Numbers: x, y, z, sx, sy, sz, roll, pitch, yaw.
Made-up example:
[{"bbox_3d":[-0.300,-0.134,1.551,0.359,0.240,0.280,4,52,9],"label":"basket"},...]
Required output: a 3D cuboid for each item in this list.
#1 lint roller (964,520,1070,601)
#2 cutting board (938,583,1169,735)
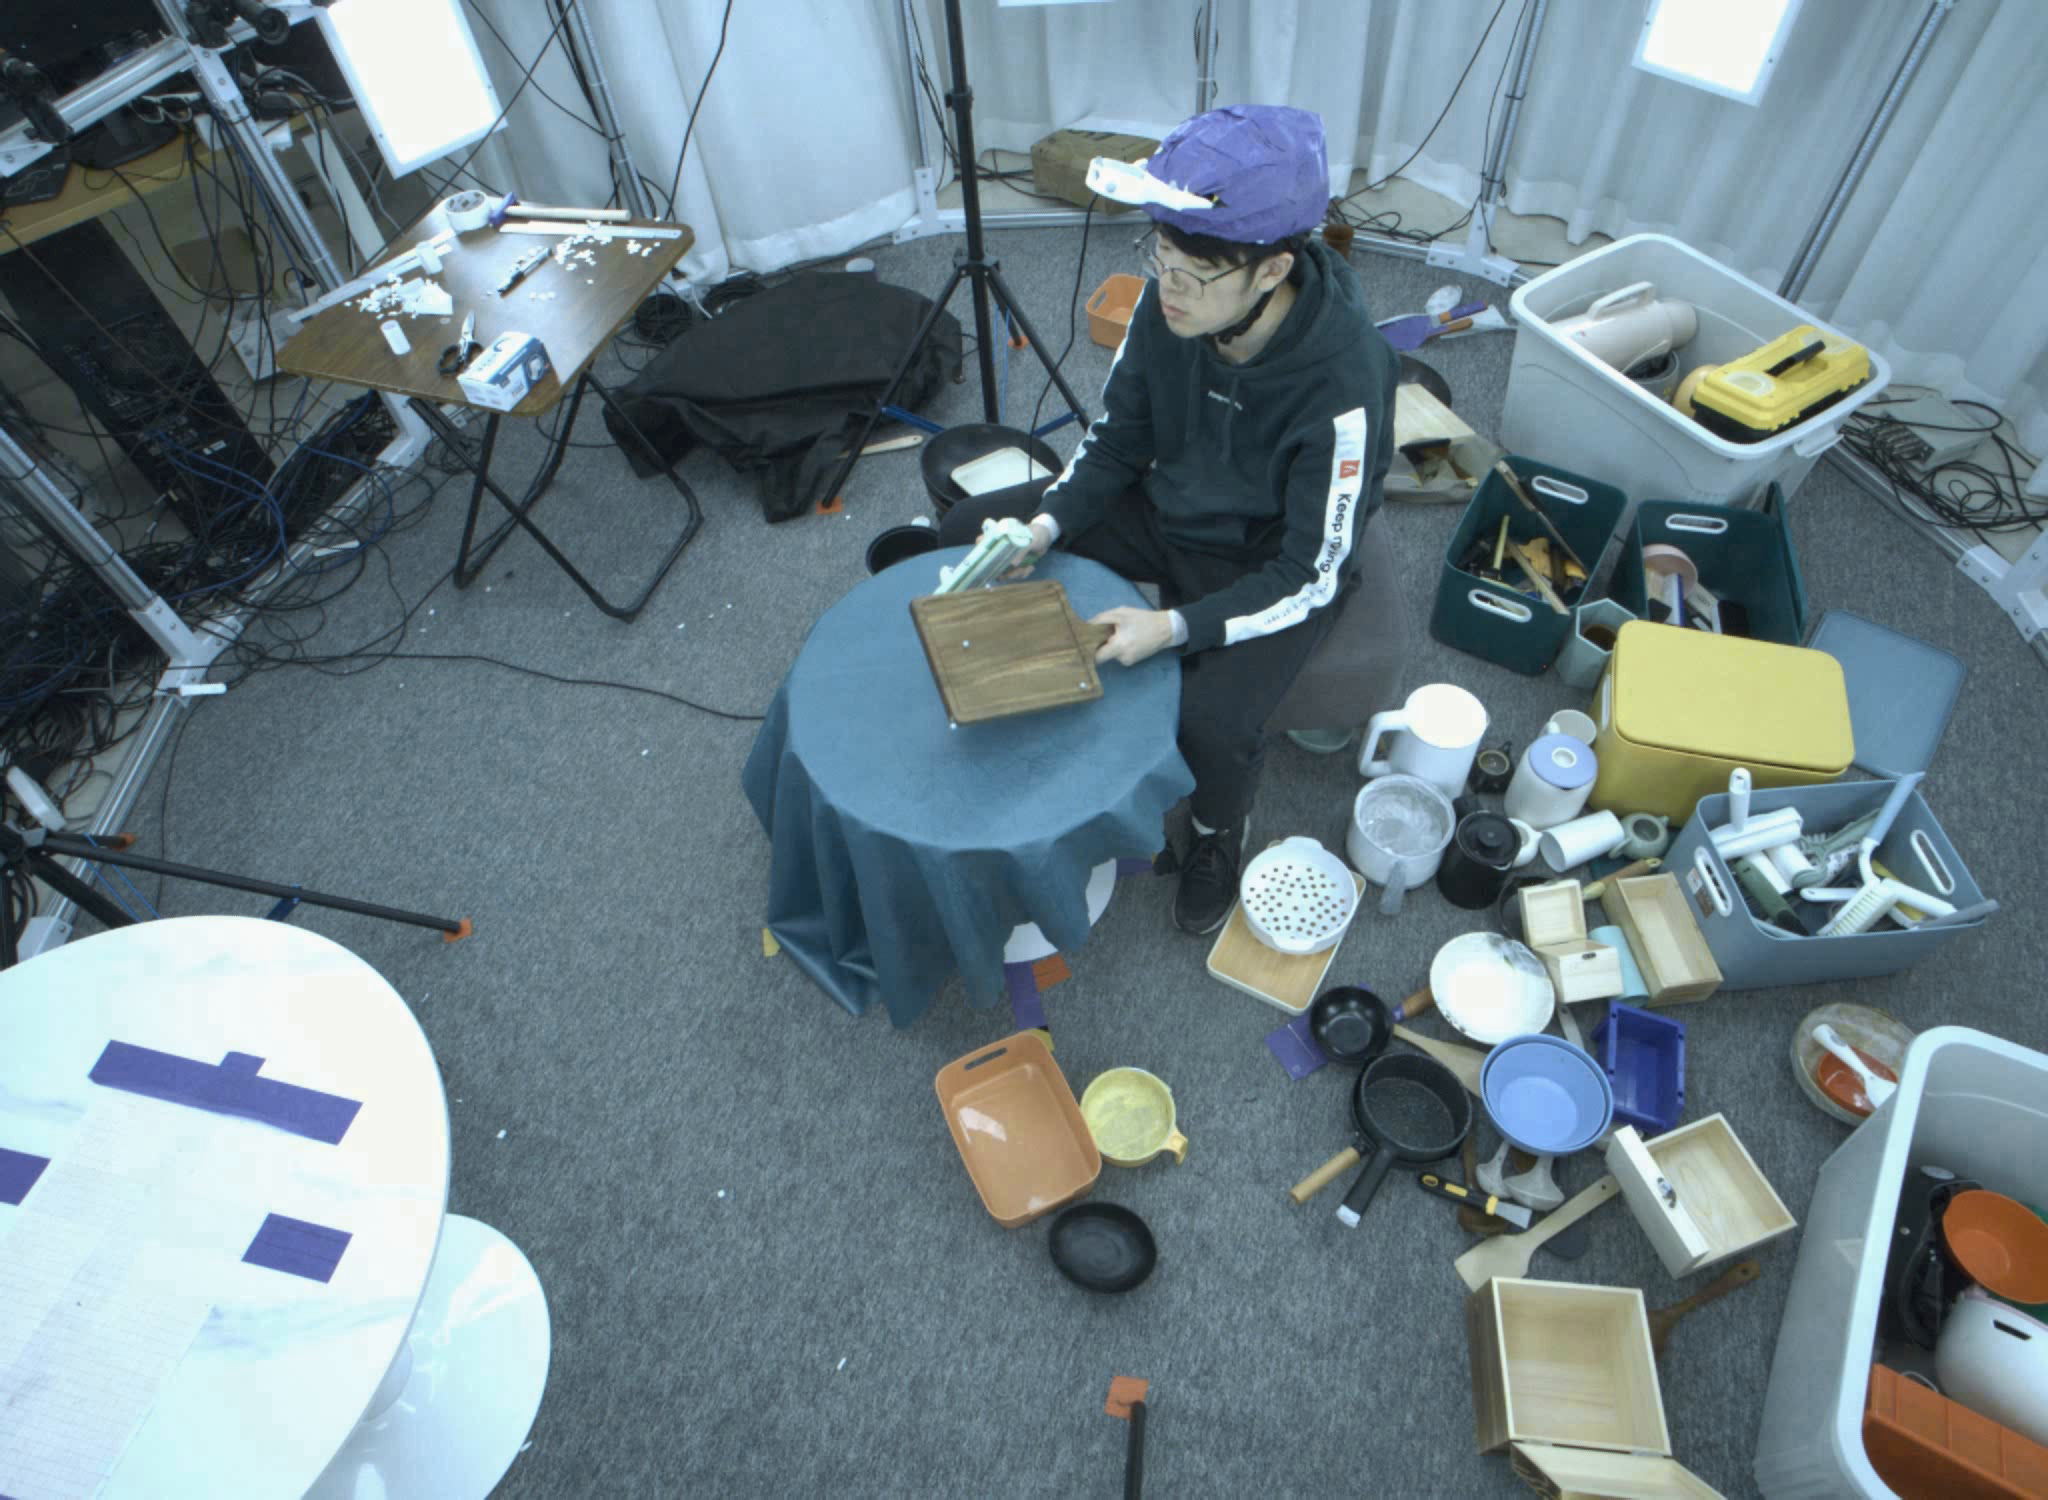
[{"bbox_3d":[0.003,-0.296,1.882,0.082,0.196,0.185,49,38,-1],"label":"lint roller"},{"bbox_3d":[0.062,-0.141,1.760,0.358,0.023,0.199,-11,75,-31],"label":"cutting board"}]
